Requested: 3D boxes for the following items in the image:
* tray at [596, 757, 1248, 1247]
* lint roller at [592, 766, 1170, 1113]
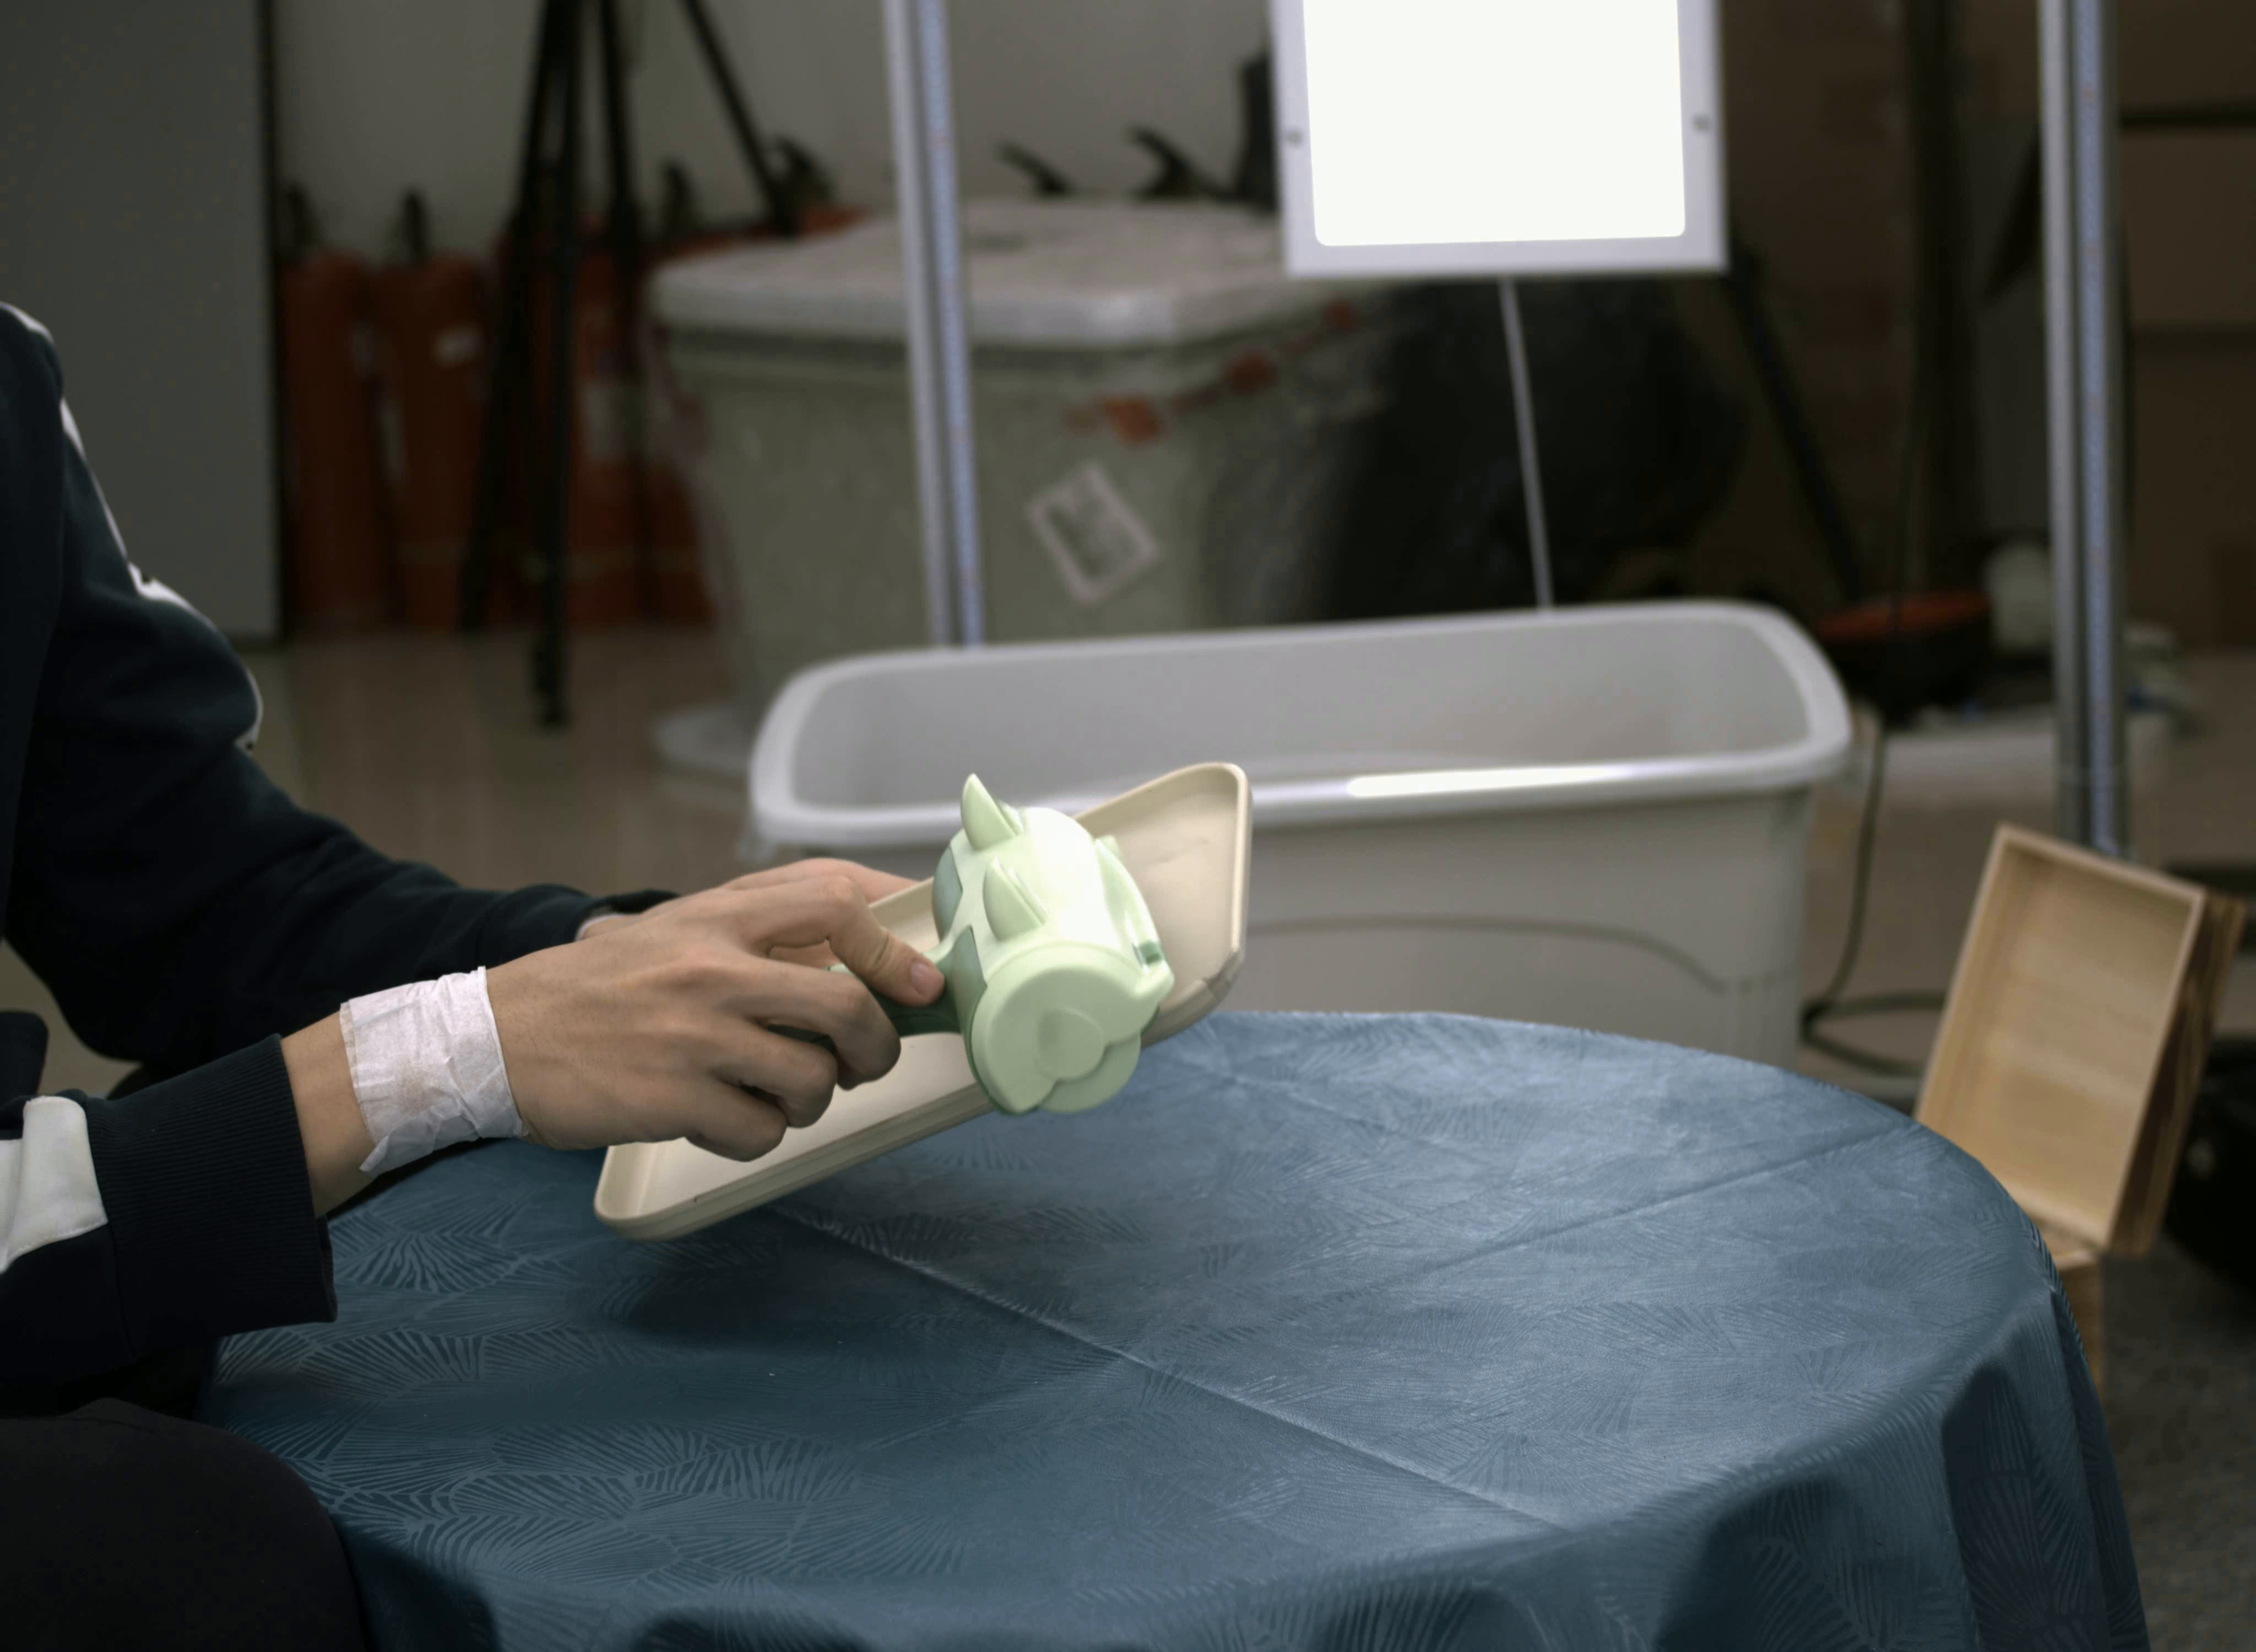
[{"bbox_3d":[-0.065,0.060,1.844,0.242,0.017,0.170,-25,23,16],"label":"tray"},{"bbox_3d":[-0.084,0.040,1.750,0.182,0.082,0.199,-9,14,-2],"label":"lint roller"}]
